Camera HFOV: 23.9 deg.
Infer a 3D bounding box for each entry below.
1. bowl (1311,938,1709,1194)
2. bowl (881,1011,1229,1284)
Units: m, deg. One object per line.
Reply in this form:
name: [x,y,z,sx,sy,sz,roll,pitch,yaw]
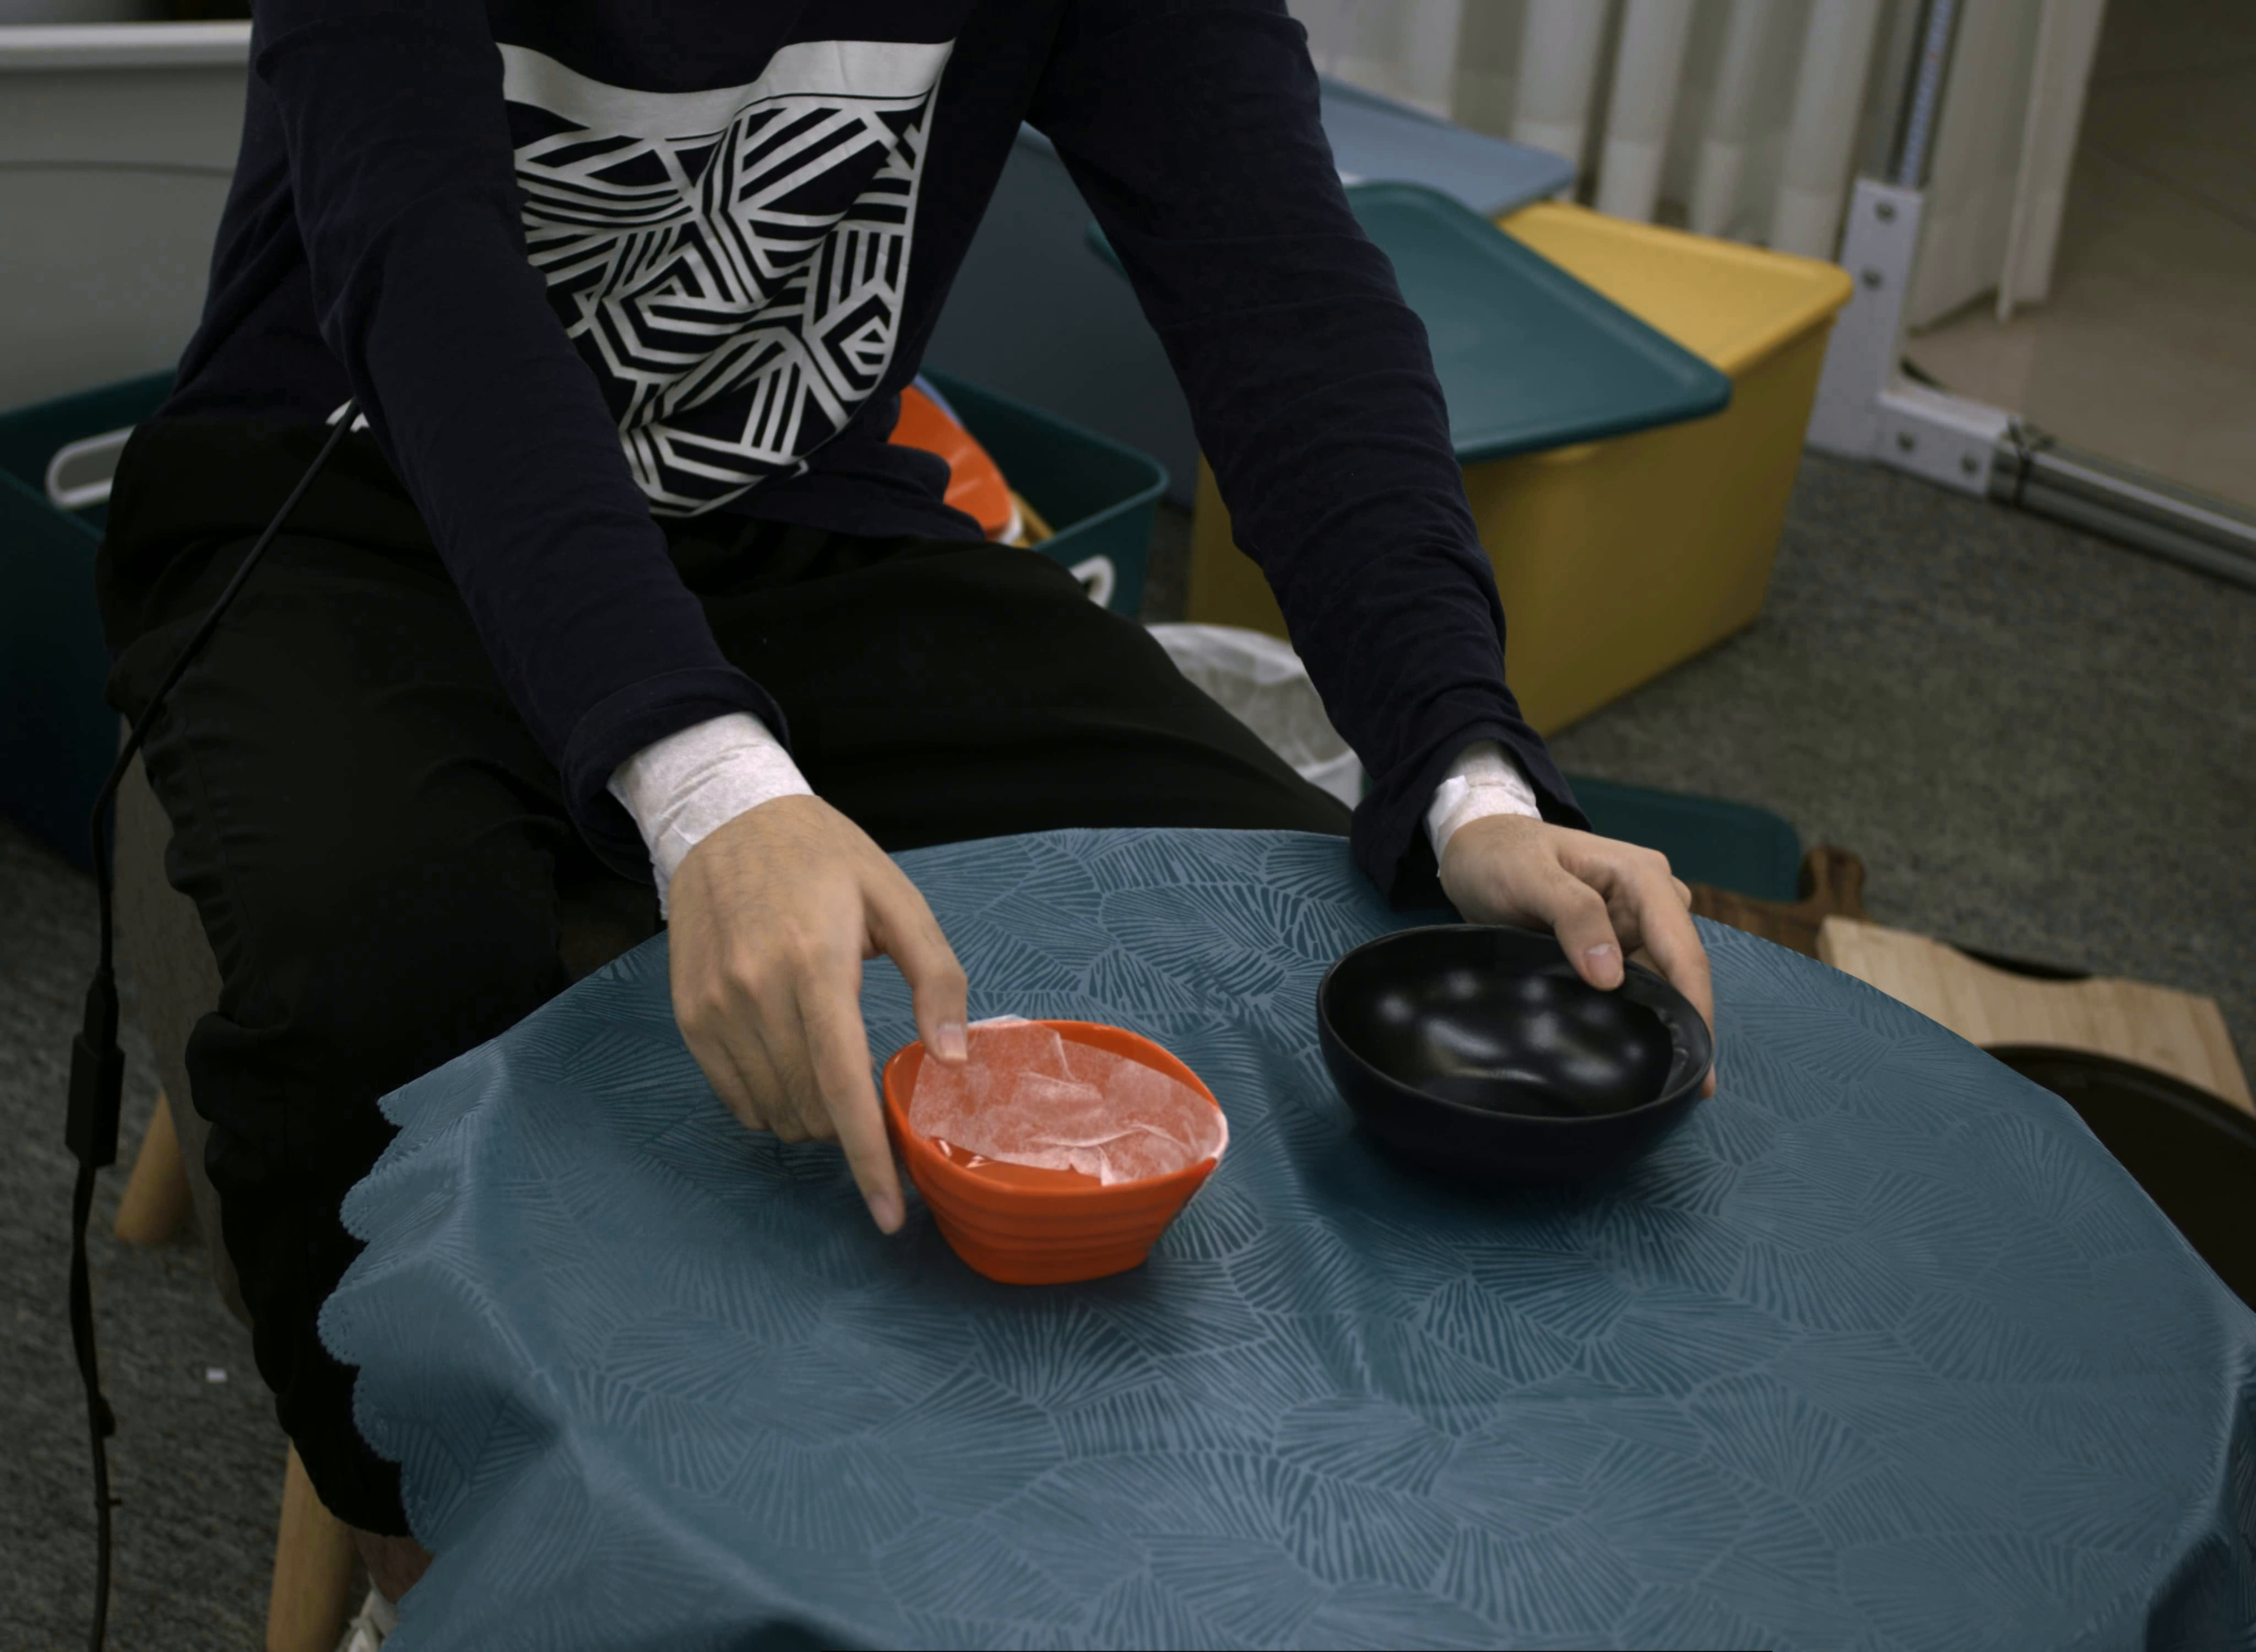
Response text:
bowl: [0.131,0.090,1.853,0.139,0.049,0.141,4,23,-2]
bowl: [-0.027,0.111,1.766,0.118,0.051,0.119,5,29,-3]
